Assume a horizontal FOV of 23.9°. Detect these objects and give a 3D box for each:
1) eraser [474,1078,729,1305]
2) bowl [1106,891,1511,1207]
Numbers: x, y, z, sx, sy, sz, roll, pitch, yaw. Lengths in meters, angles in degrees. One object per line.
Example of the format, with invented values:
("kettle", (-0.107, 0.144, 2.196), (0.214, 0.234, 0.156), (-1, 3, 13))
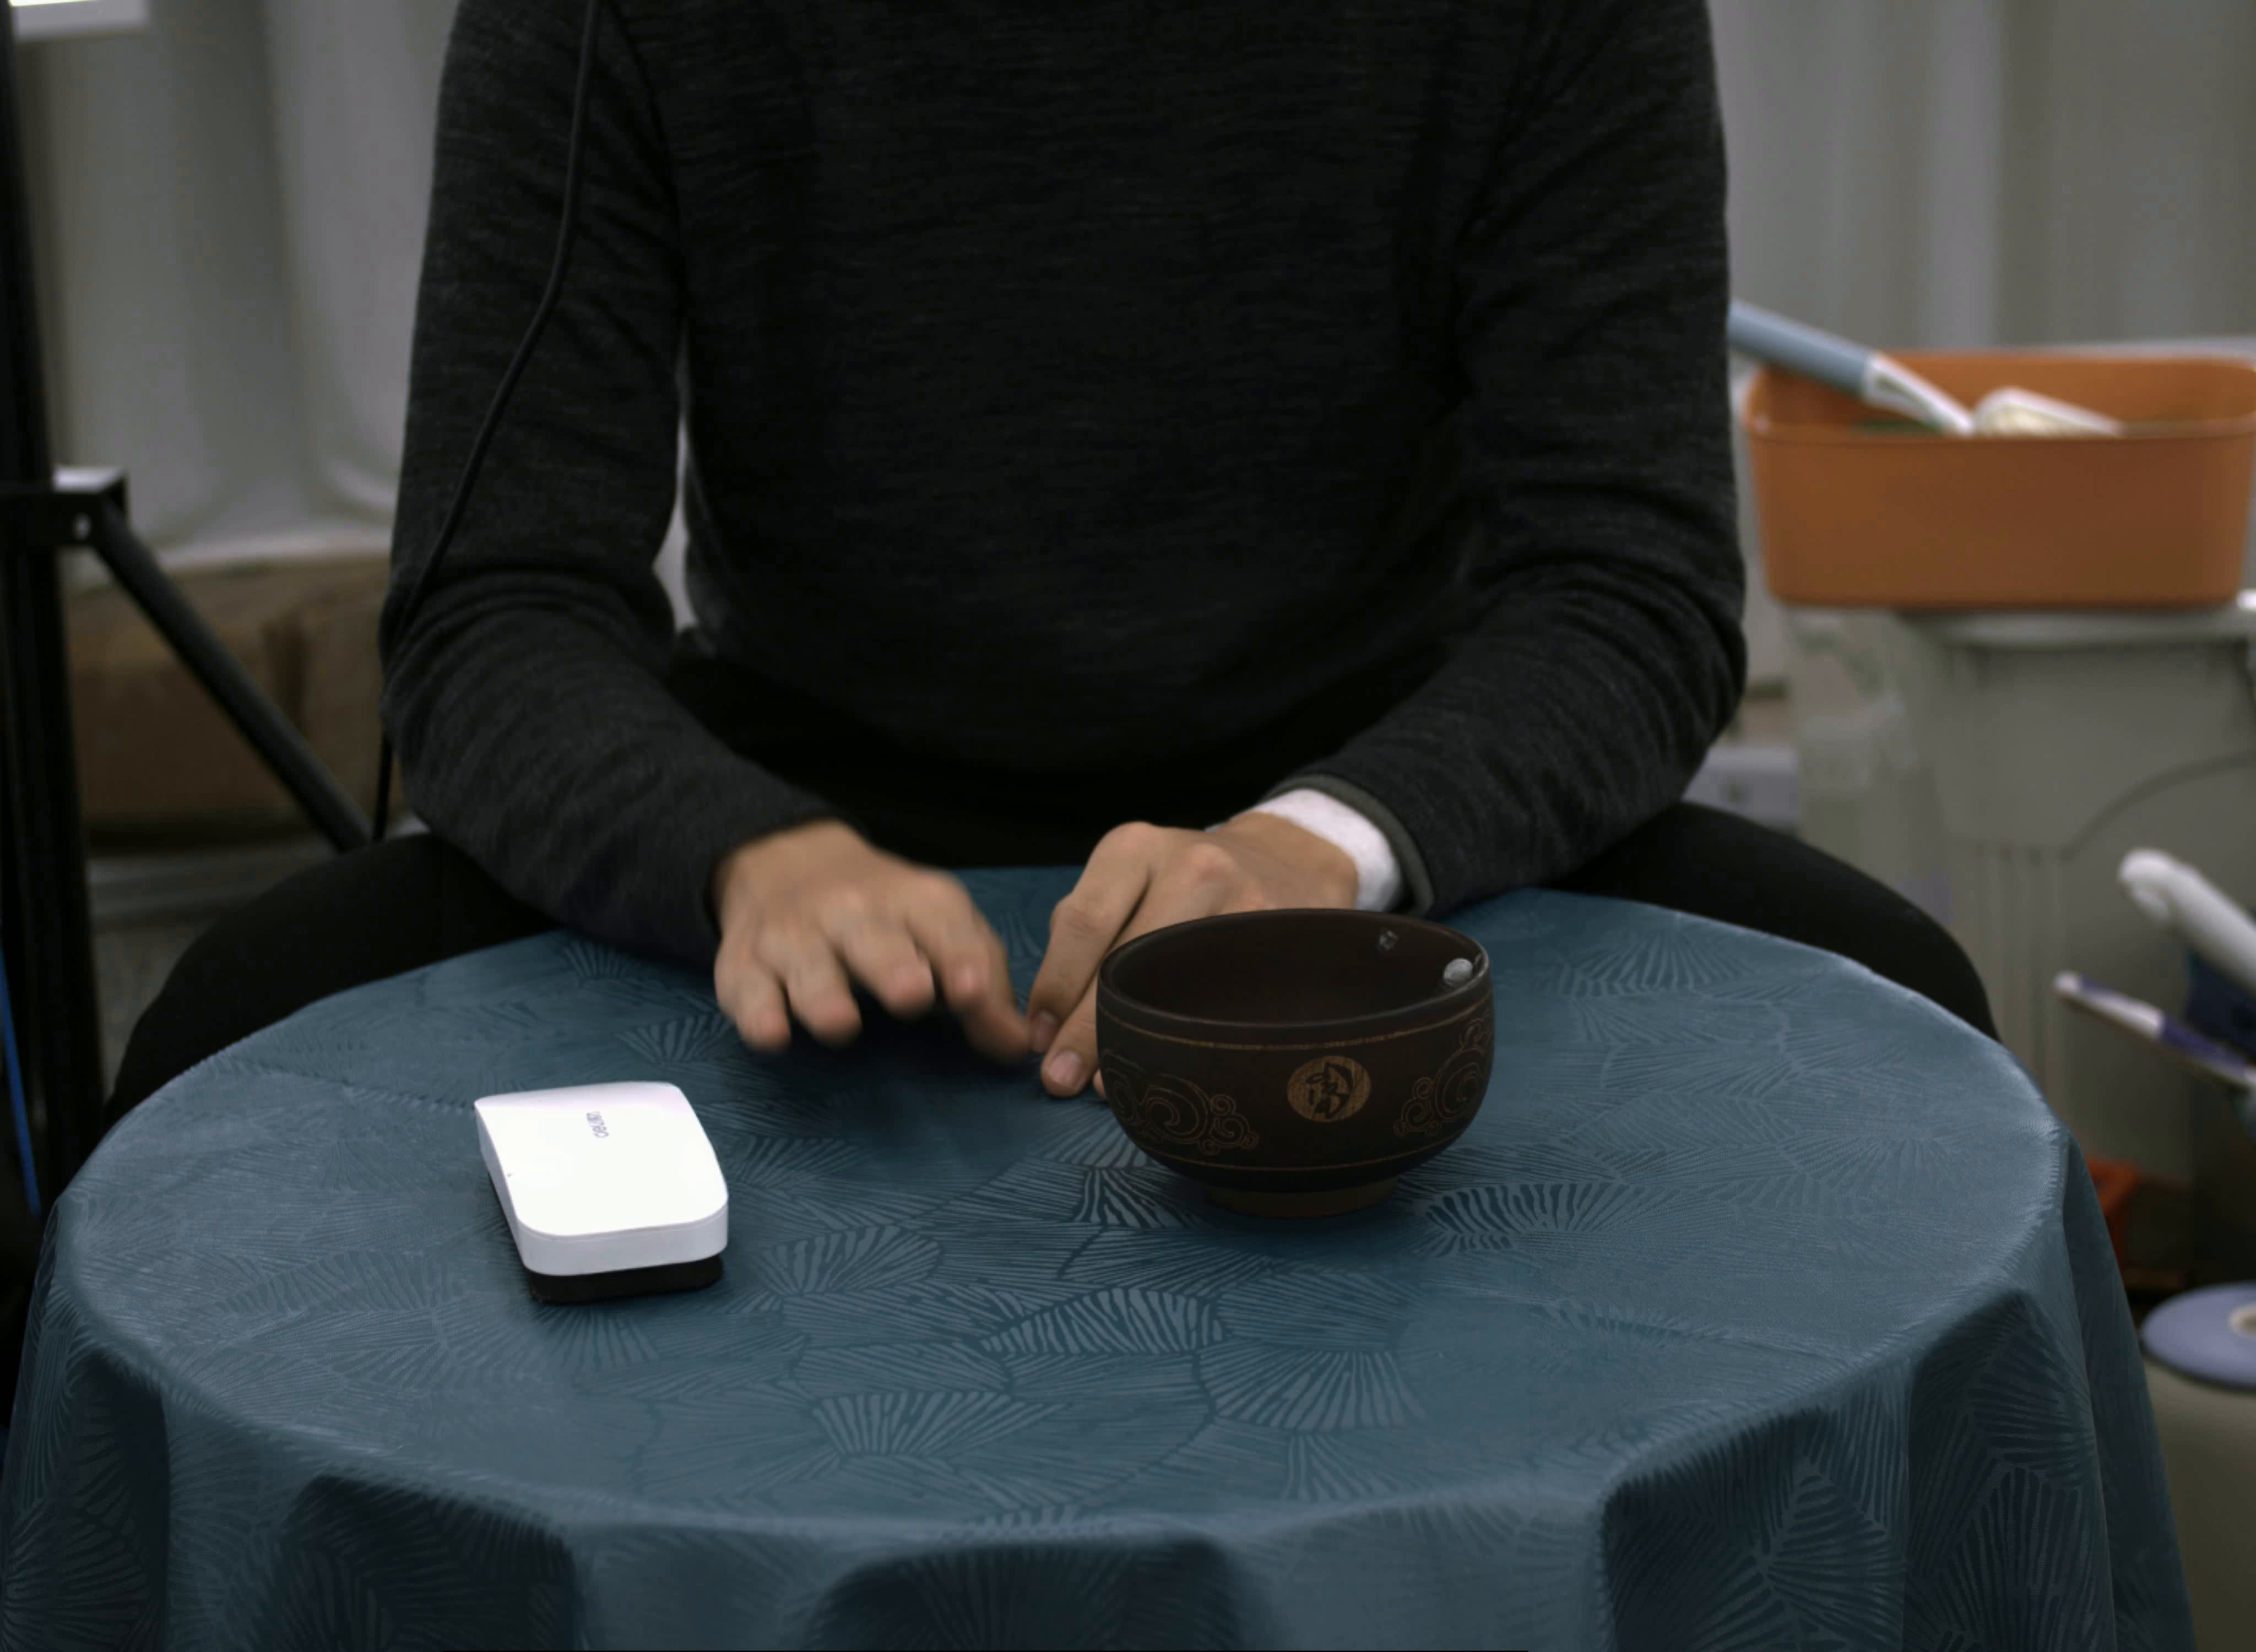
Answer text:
("eraser", (-0.152, 0.102, 1.547), (0.062, 0.034, 0.133), (-4, 17, -12))
("bowl", (0.055, 0.069, 1.548), (0.117, 0.070, 0.118), (-10, 14, 1))
